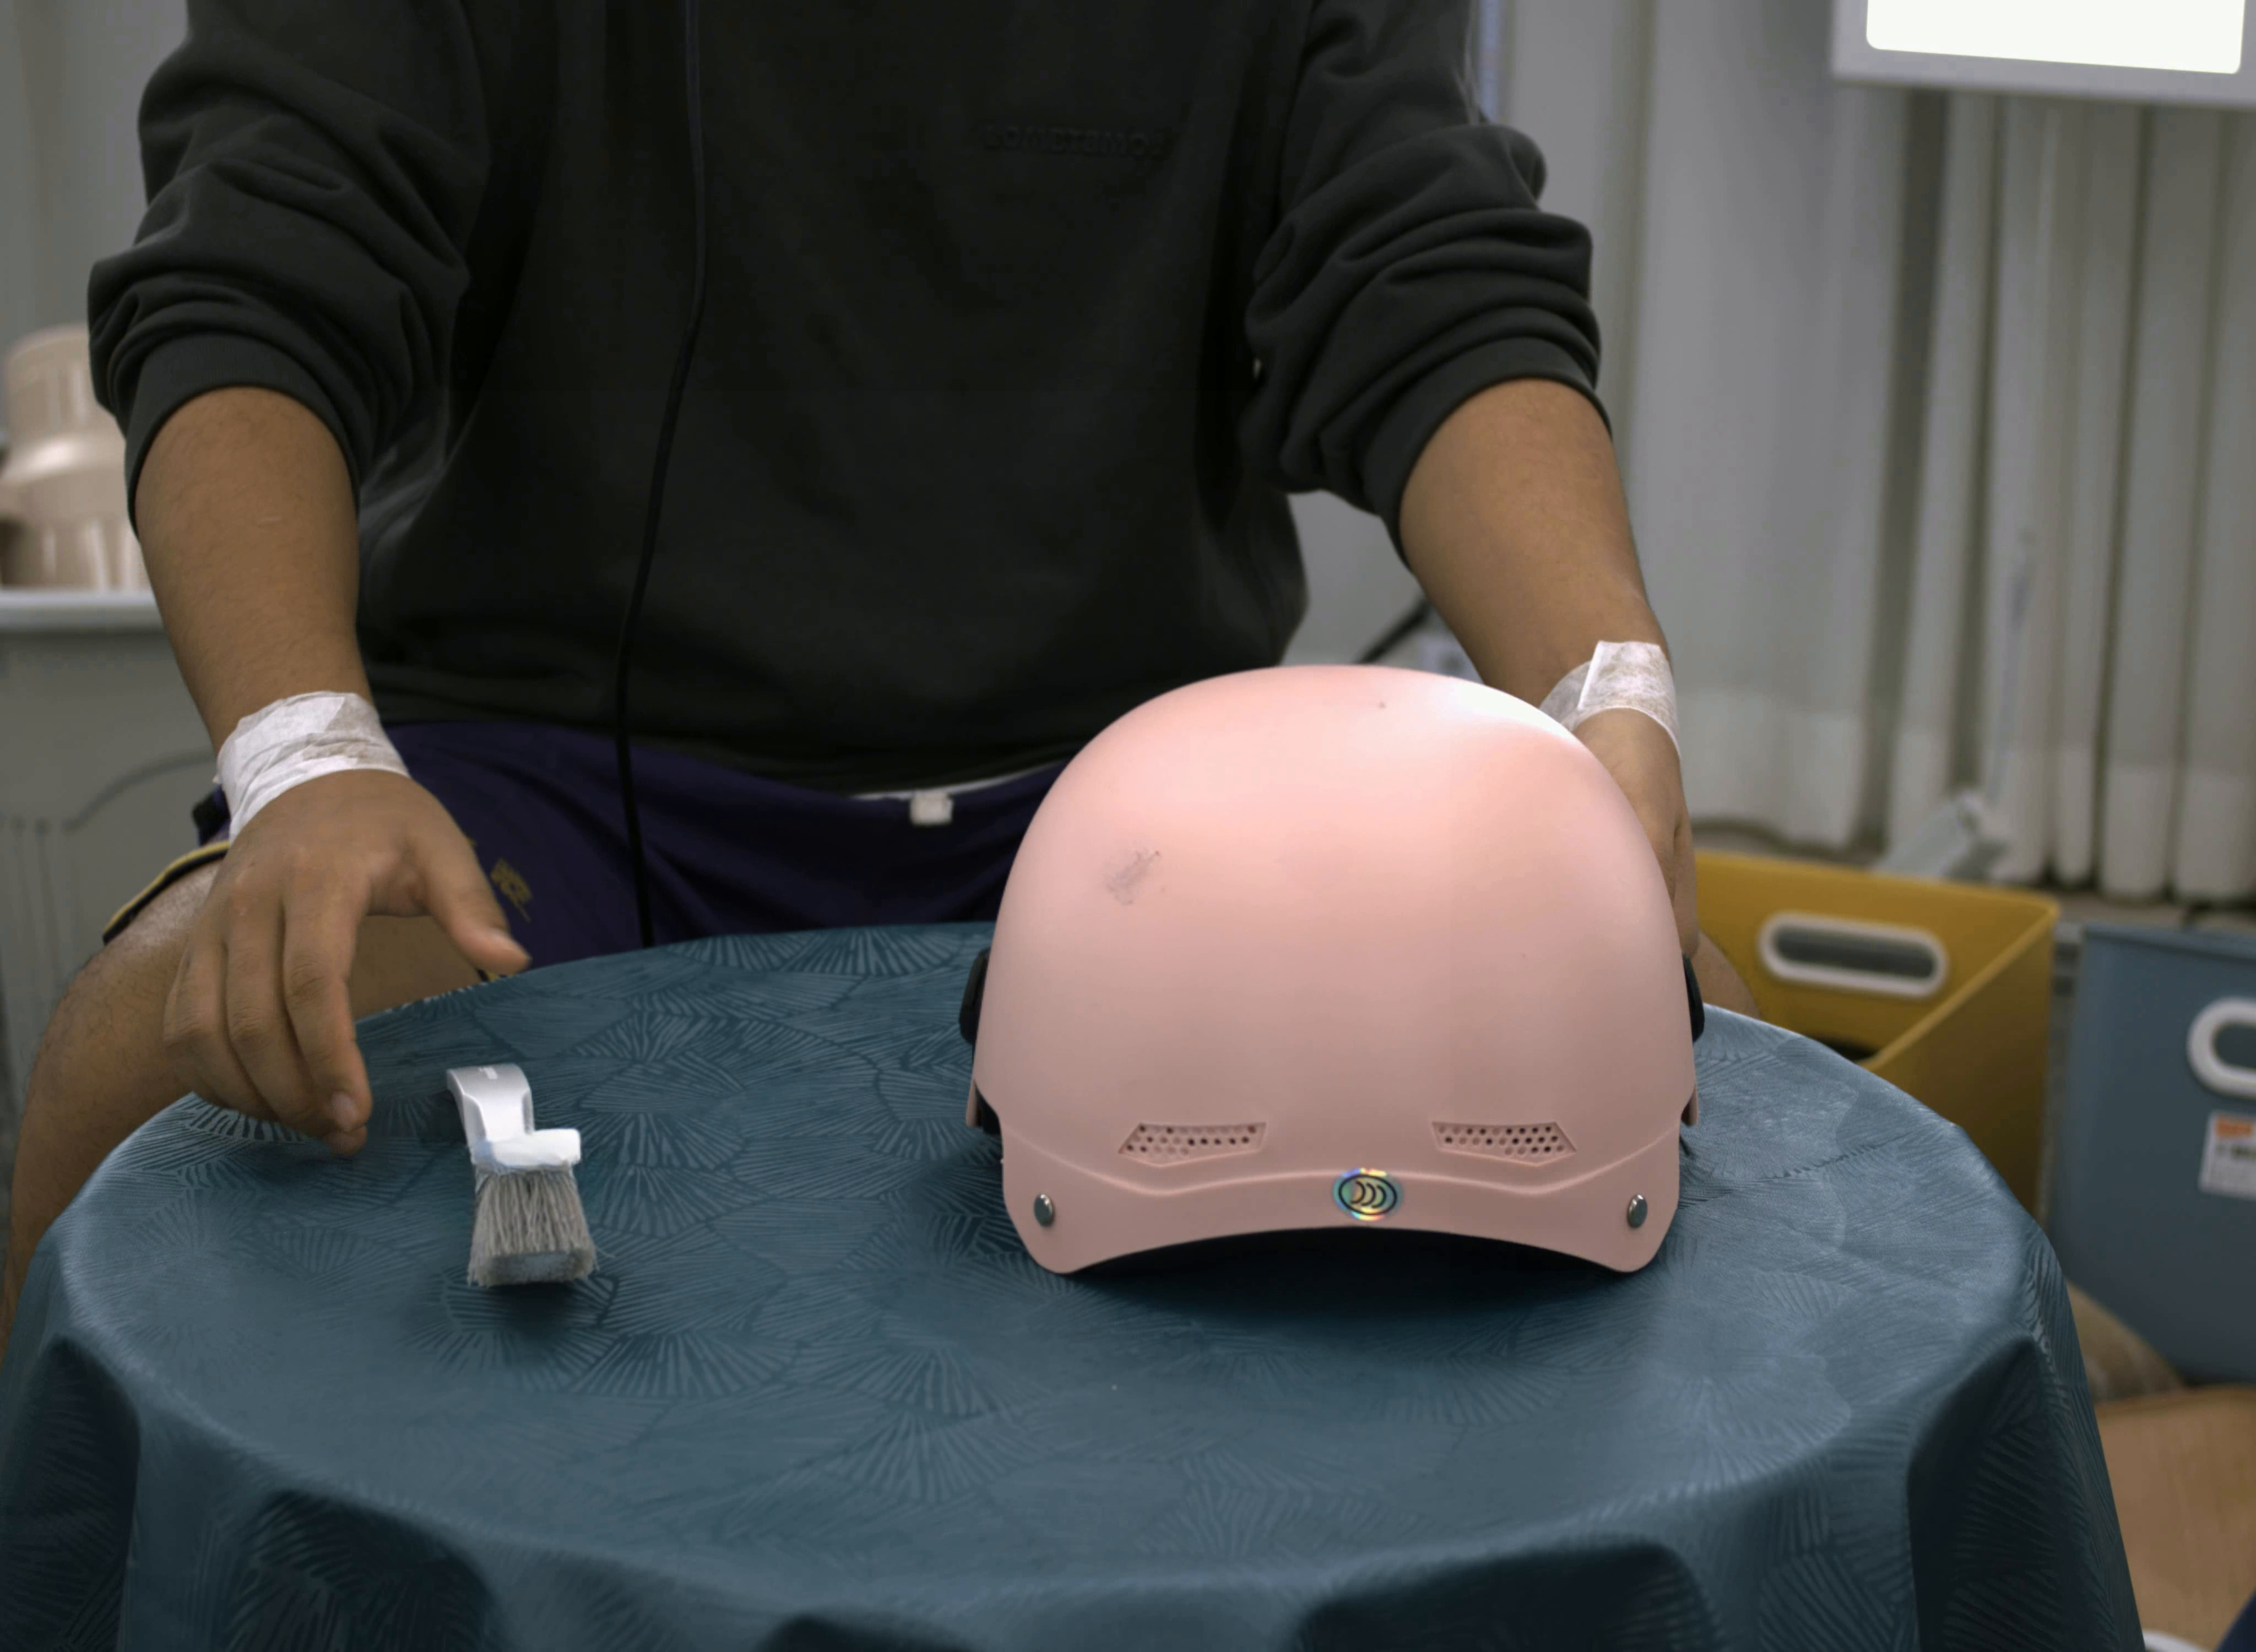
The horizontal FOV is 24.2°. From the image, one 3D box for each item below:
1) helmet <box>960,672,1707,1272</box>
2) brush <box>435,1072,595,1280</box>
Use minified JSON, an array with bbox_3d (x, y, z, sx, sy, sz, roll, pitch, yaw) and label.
[{"bbox_3d":[0.063,0.030,1.612,0.233,0.160,0.264,-1,16,0],"label":"helmet"},{"bbox_3d":[-0.189,0.105,1.599,0.034,0.050,0.242,-7,3,-11],"label":"brush"}]
